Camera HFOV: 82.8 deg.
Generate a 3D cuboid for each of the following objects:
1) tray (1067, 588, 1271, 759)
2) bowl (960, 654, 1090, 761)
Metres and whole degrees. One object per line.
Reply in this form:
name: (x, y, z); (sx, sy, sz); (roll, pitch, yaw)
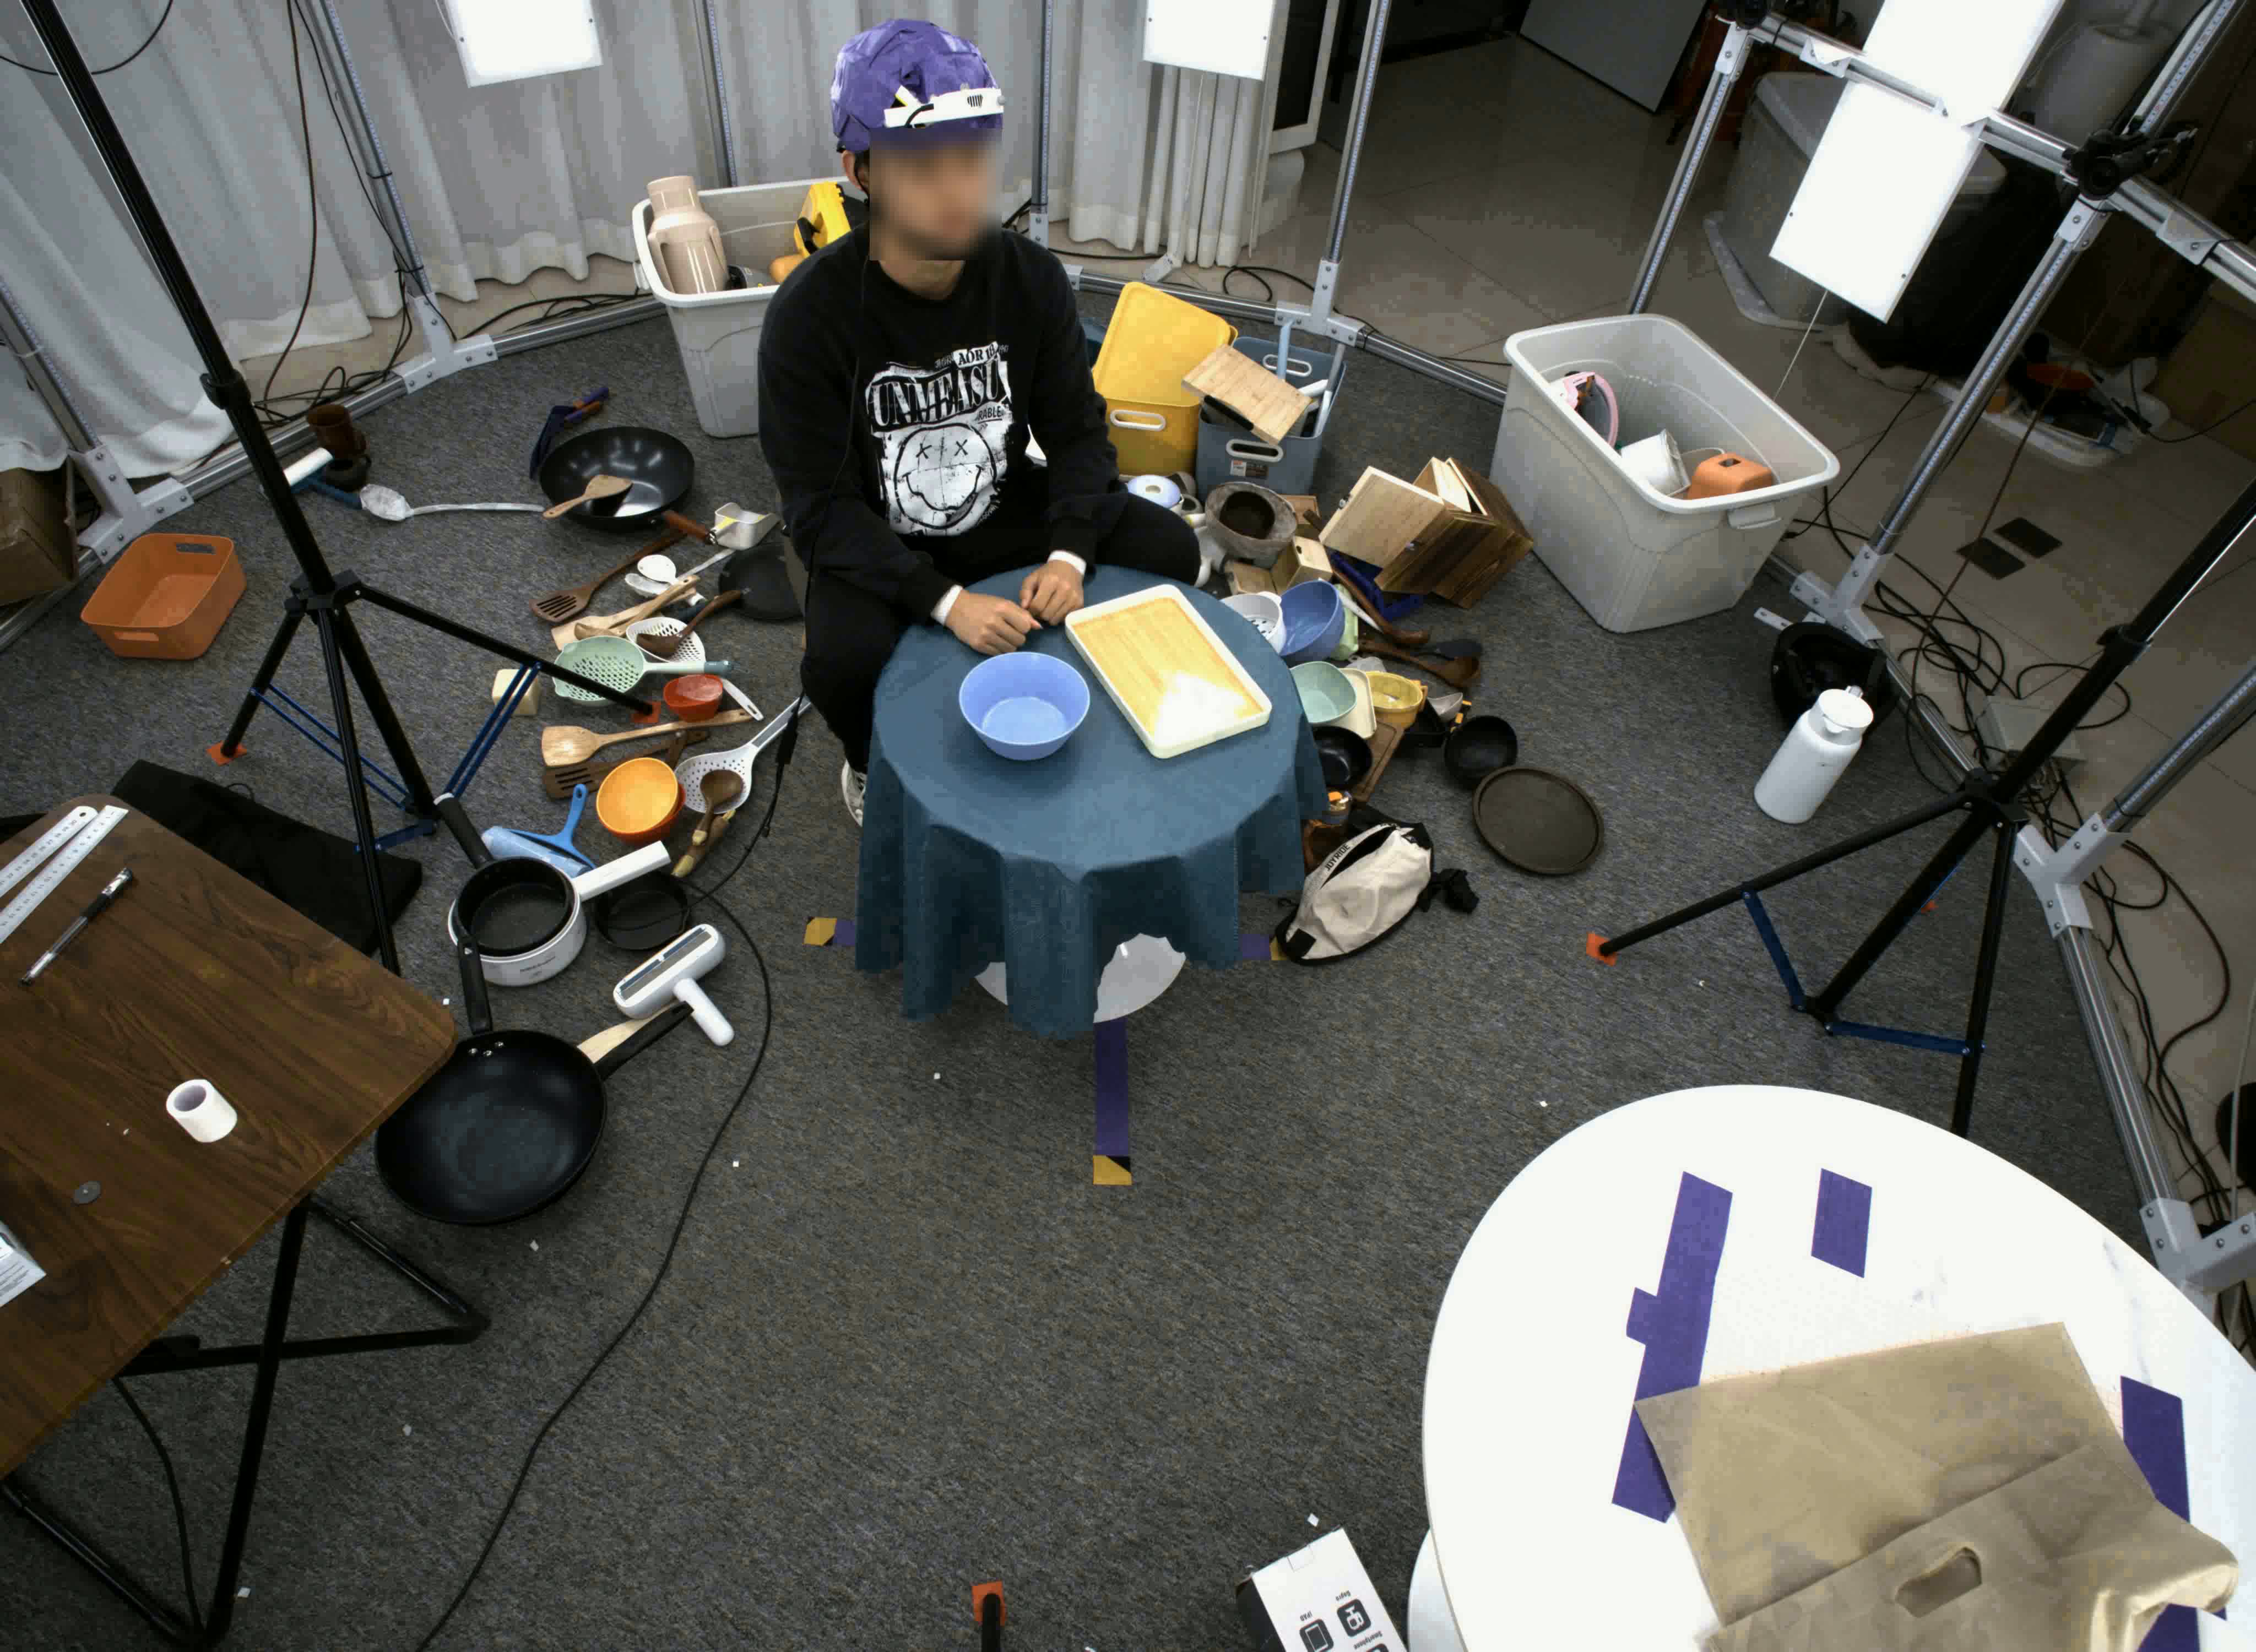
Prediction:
tray: (0.055, -0.228, 1.870); (0.192, 0.027, 0.307); (-20, 53, -20)
bowl: (-0.141, -0.154, 1.762); (0.176, 0.068, 0.180); (2, 50, -3)
